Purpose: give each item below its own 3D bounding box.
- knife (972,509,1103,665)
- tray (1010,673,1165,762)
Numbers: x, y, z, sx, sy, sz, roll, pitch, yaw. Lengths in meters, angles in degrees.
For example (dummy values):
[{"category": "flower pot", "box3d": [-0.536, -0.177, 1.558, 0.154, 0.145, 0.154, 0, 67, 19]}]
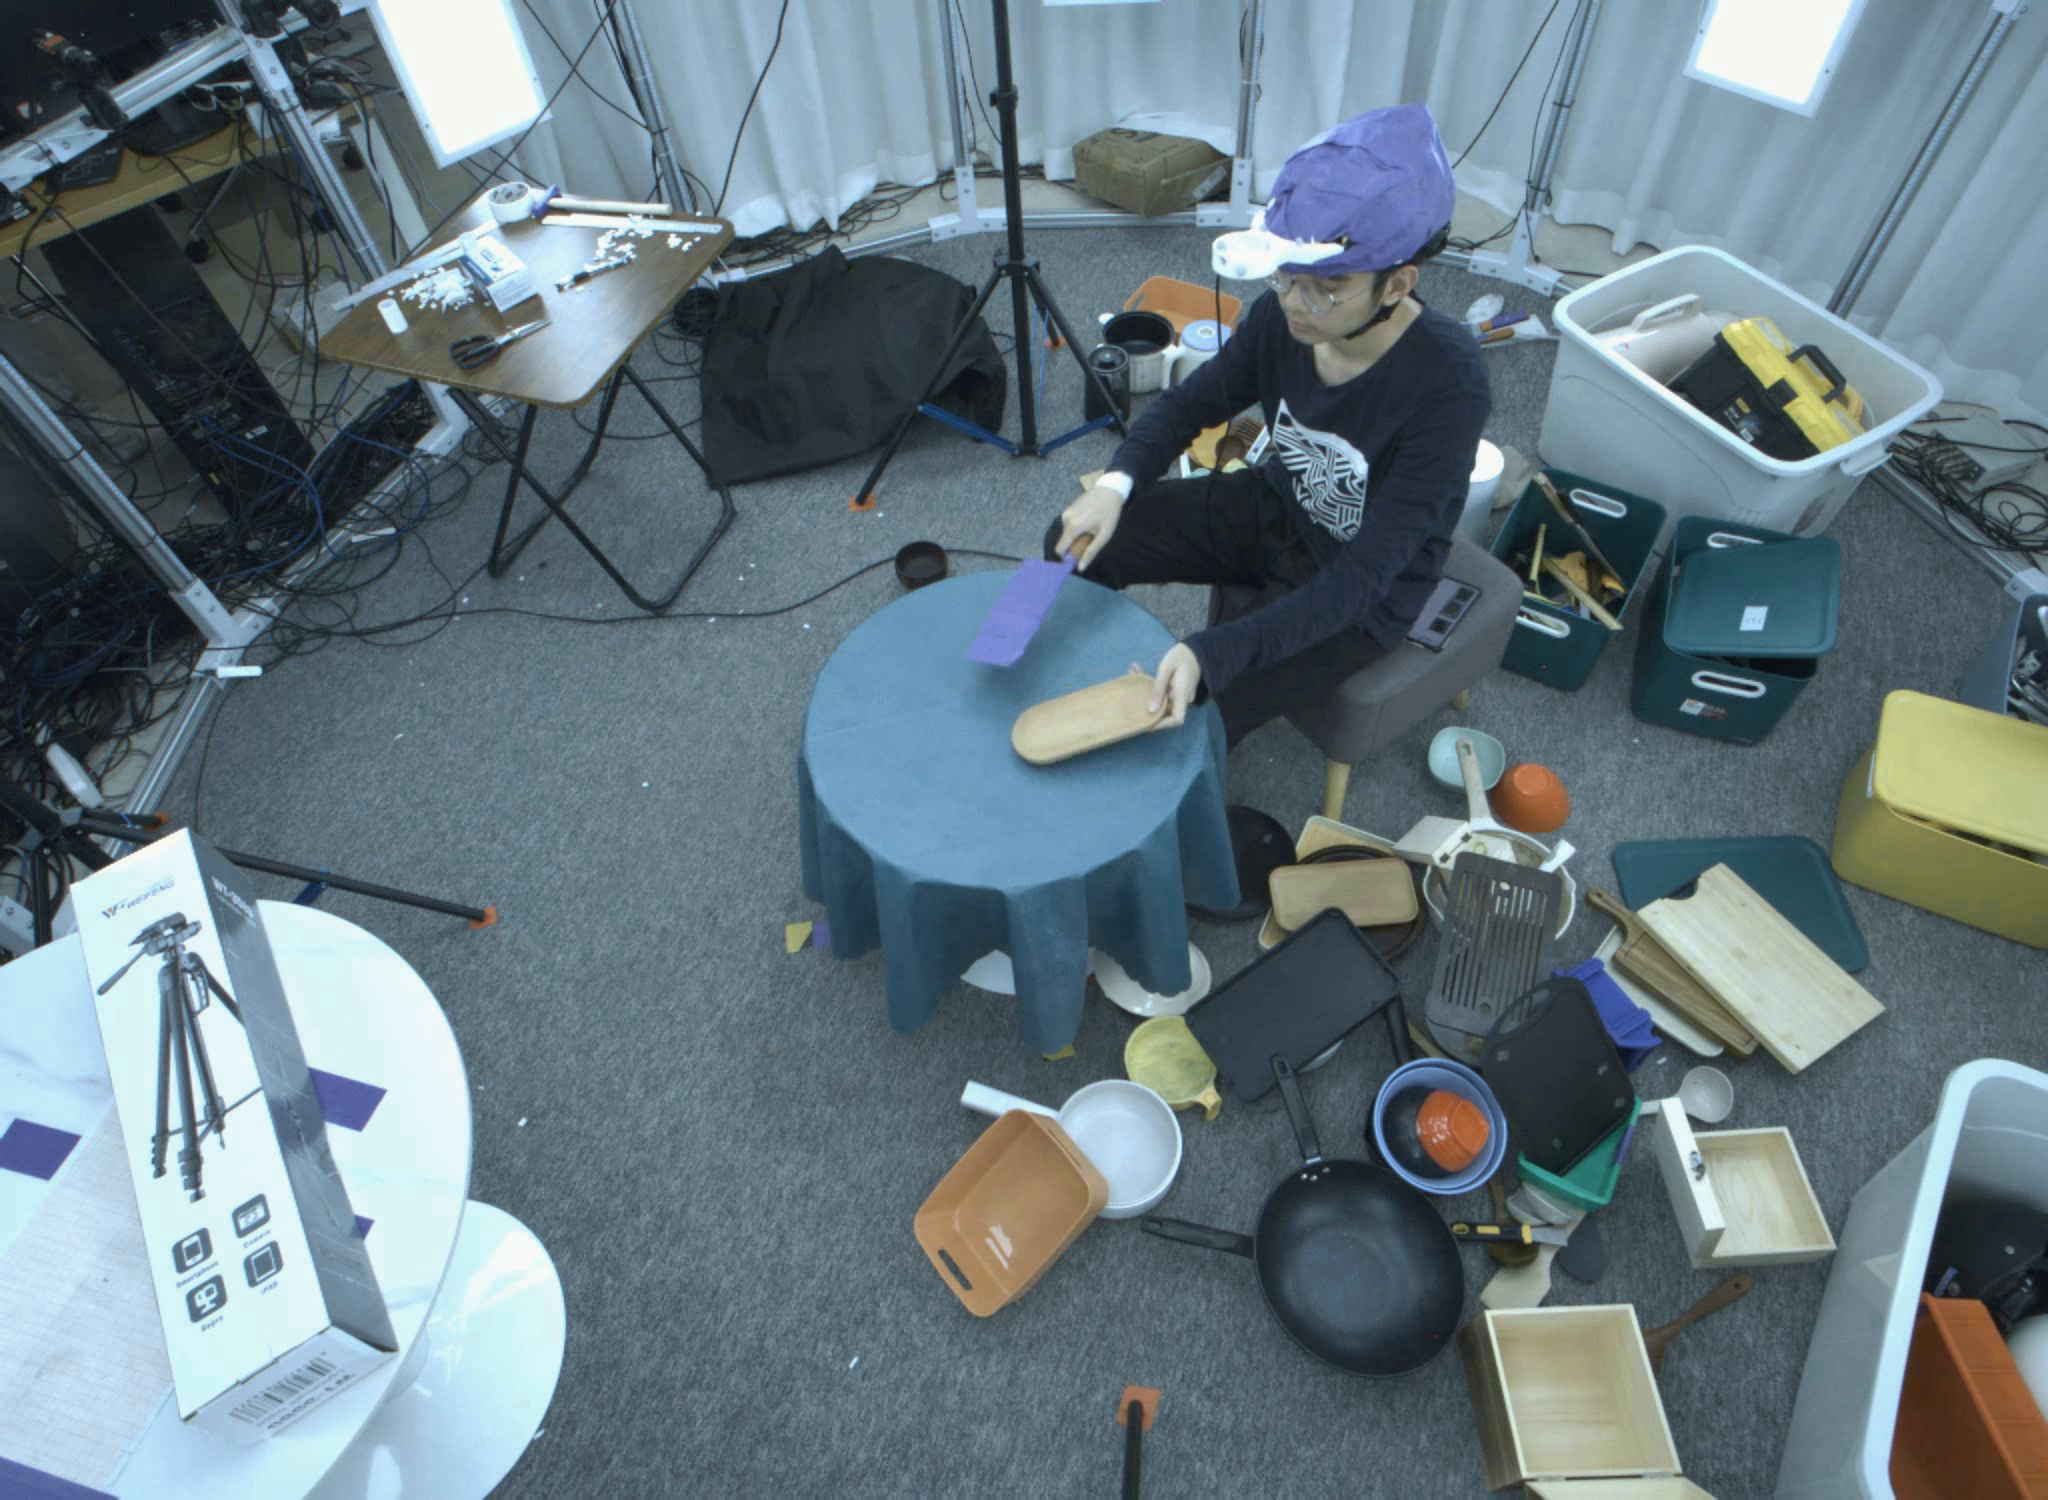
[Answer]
[{"category": "knife", "box3d": [0.018, -0.254, 1.861, 0.102, 0.033, 0.315, 14, 58, 26]}, {"category": "tray", "box3d": [0.092, -0.047, 1.778, 0.230, 0.021, 0.100, -19, 52, 5]}]
